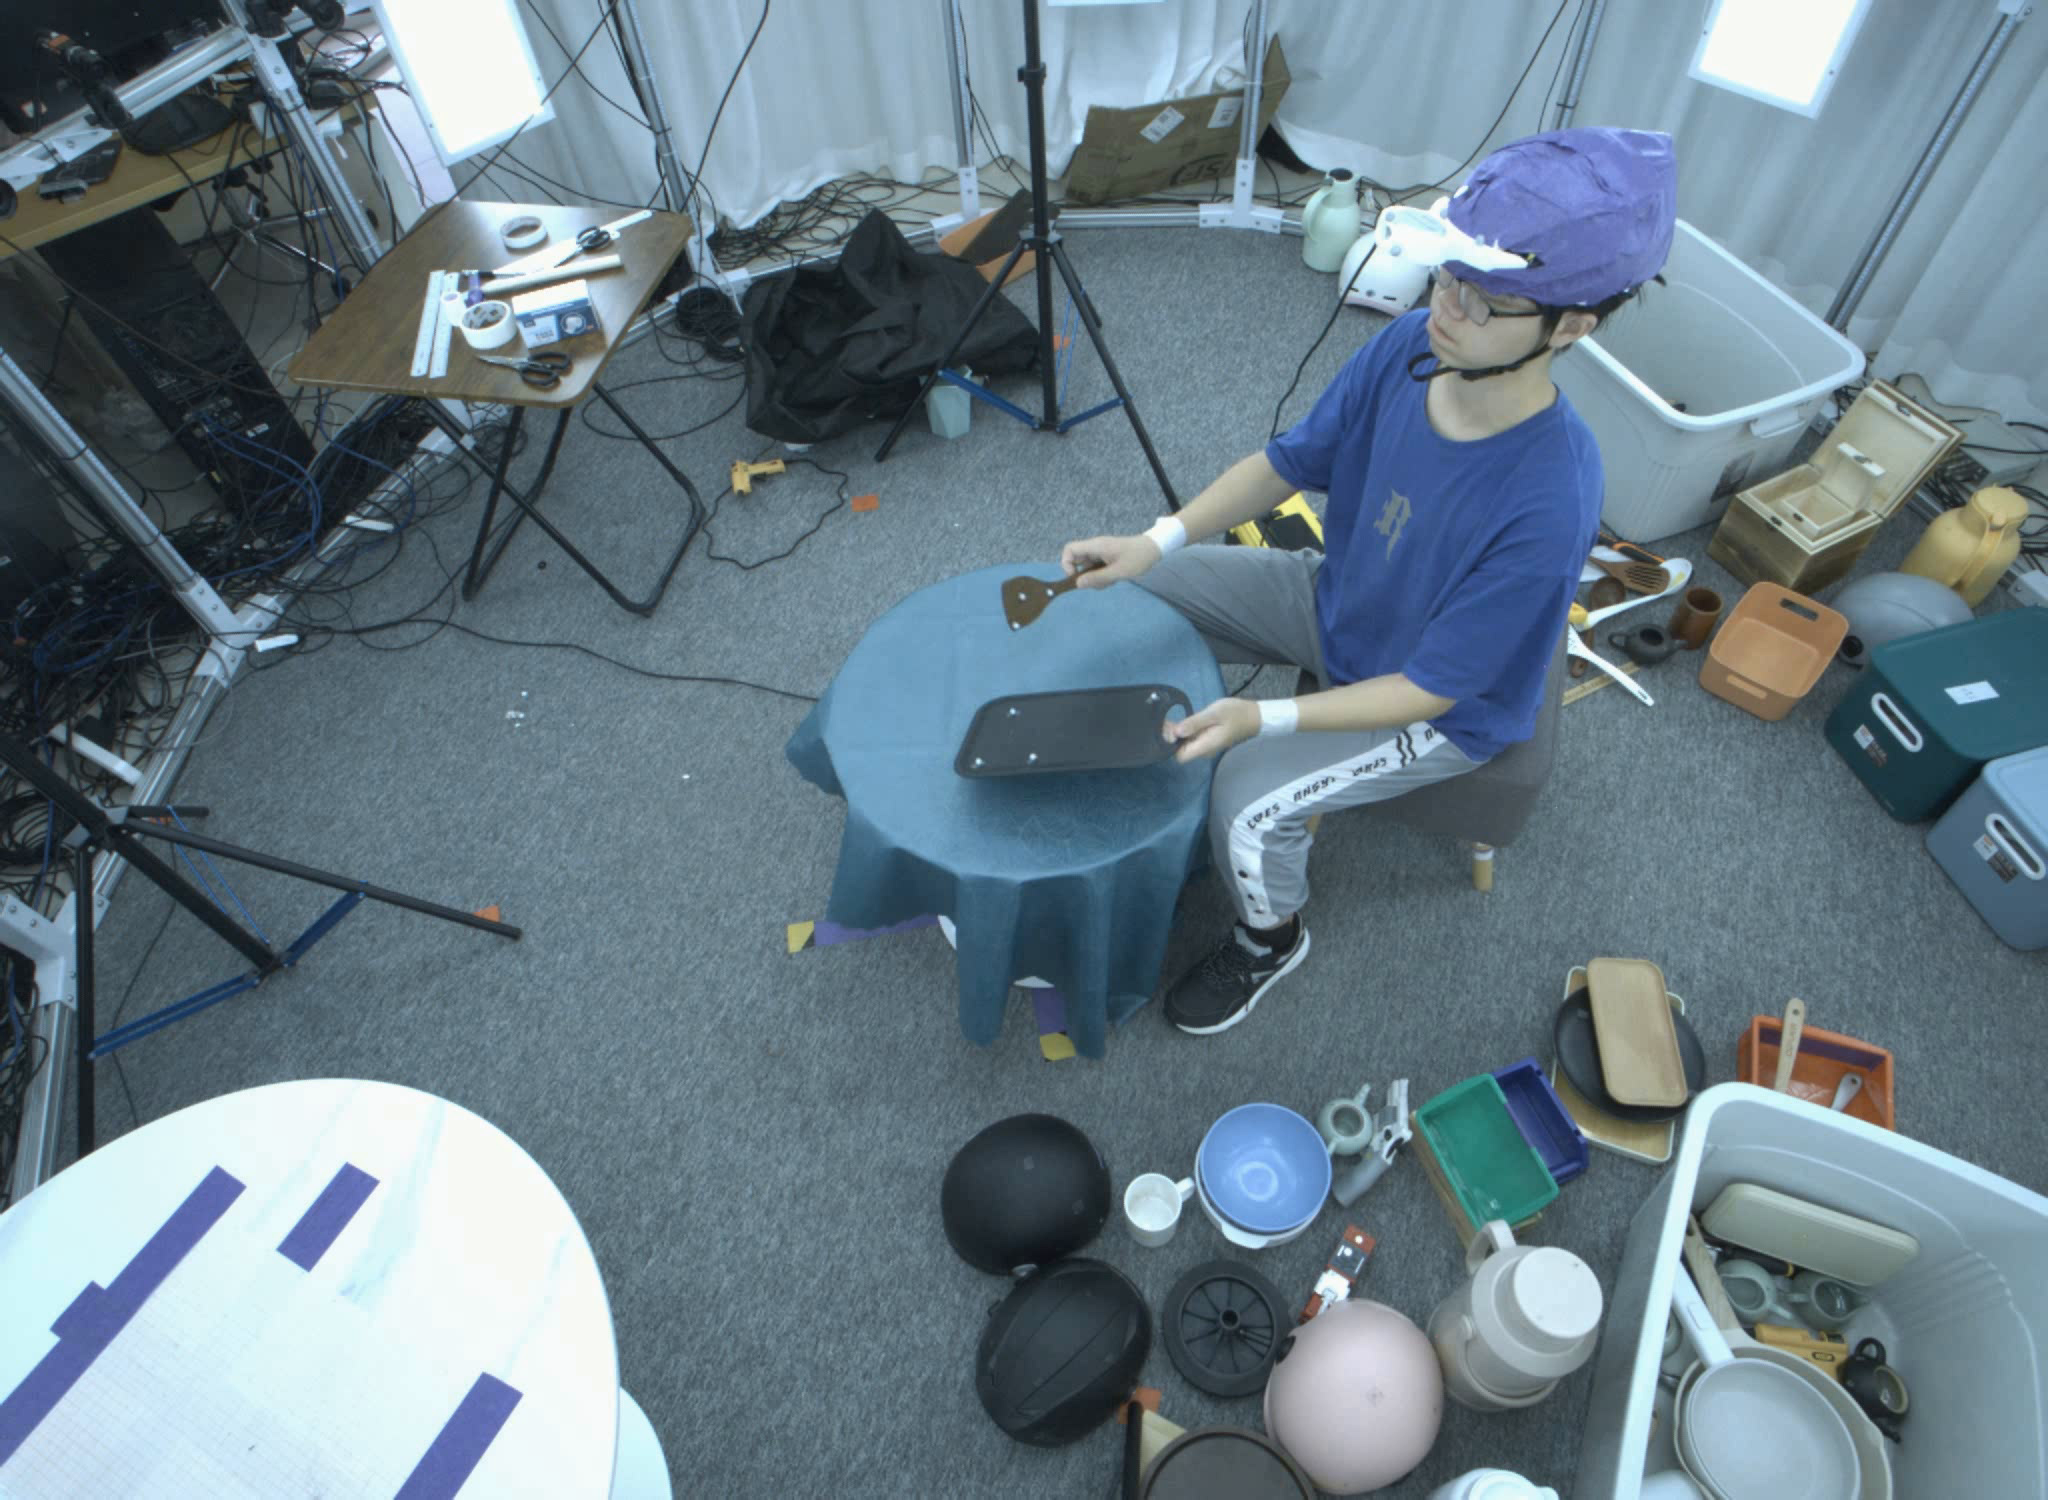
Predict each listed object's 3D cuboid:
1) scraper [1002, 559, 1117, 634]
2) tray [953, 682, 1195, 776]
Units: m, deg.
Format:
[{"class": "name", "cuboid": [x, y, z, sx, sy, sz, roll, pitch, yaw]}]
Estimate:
[{"class": "scraper", "cuboid": [0.053, -0.231, 1.753, 0.214, 0.076, 0.010, -26, 25, -32]}, {"class": "tray", "cuboid": [0.071, -0.033, 1.685, 0.322, 0.010, 0.210, -3, 33, 15]}]
